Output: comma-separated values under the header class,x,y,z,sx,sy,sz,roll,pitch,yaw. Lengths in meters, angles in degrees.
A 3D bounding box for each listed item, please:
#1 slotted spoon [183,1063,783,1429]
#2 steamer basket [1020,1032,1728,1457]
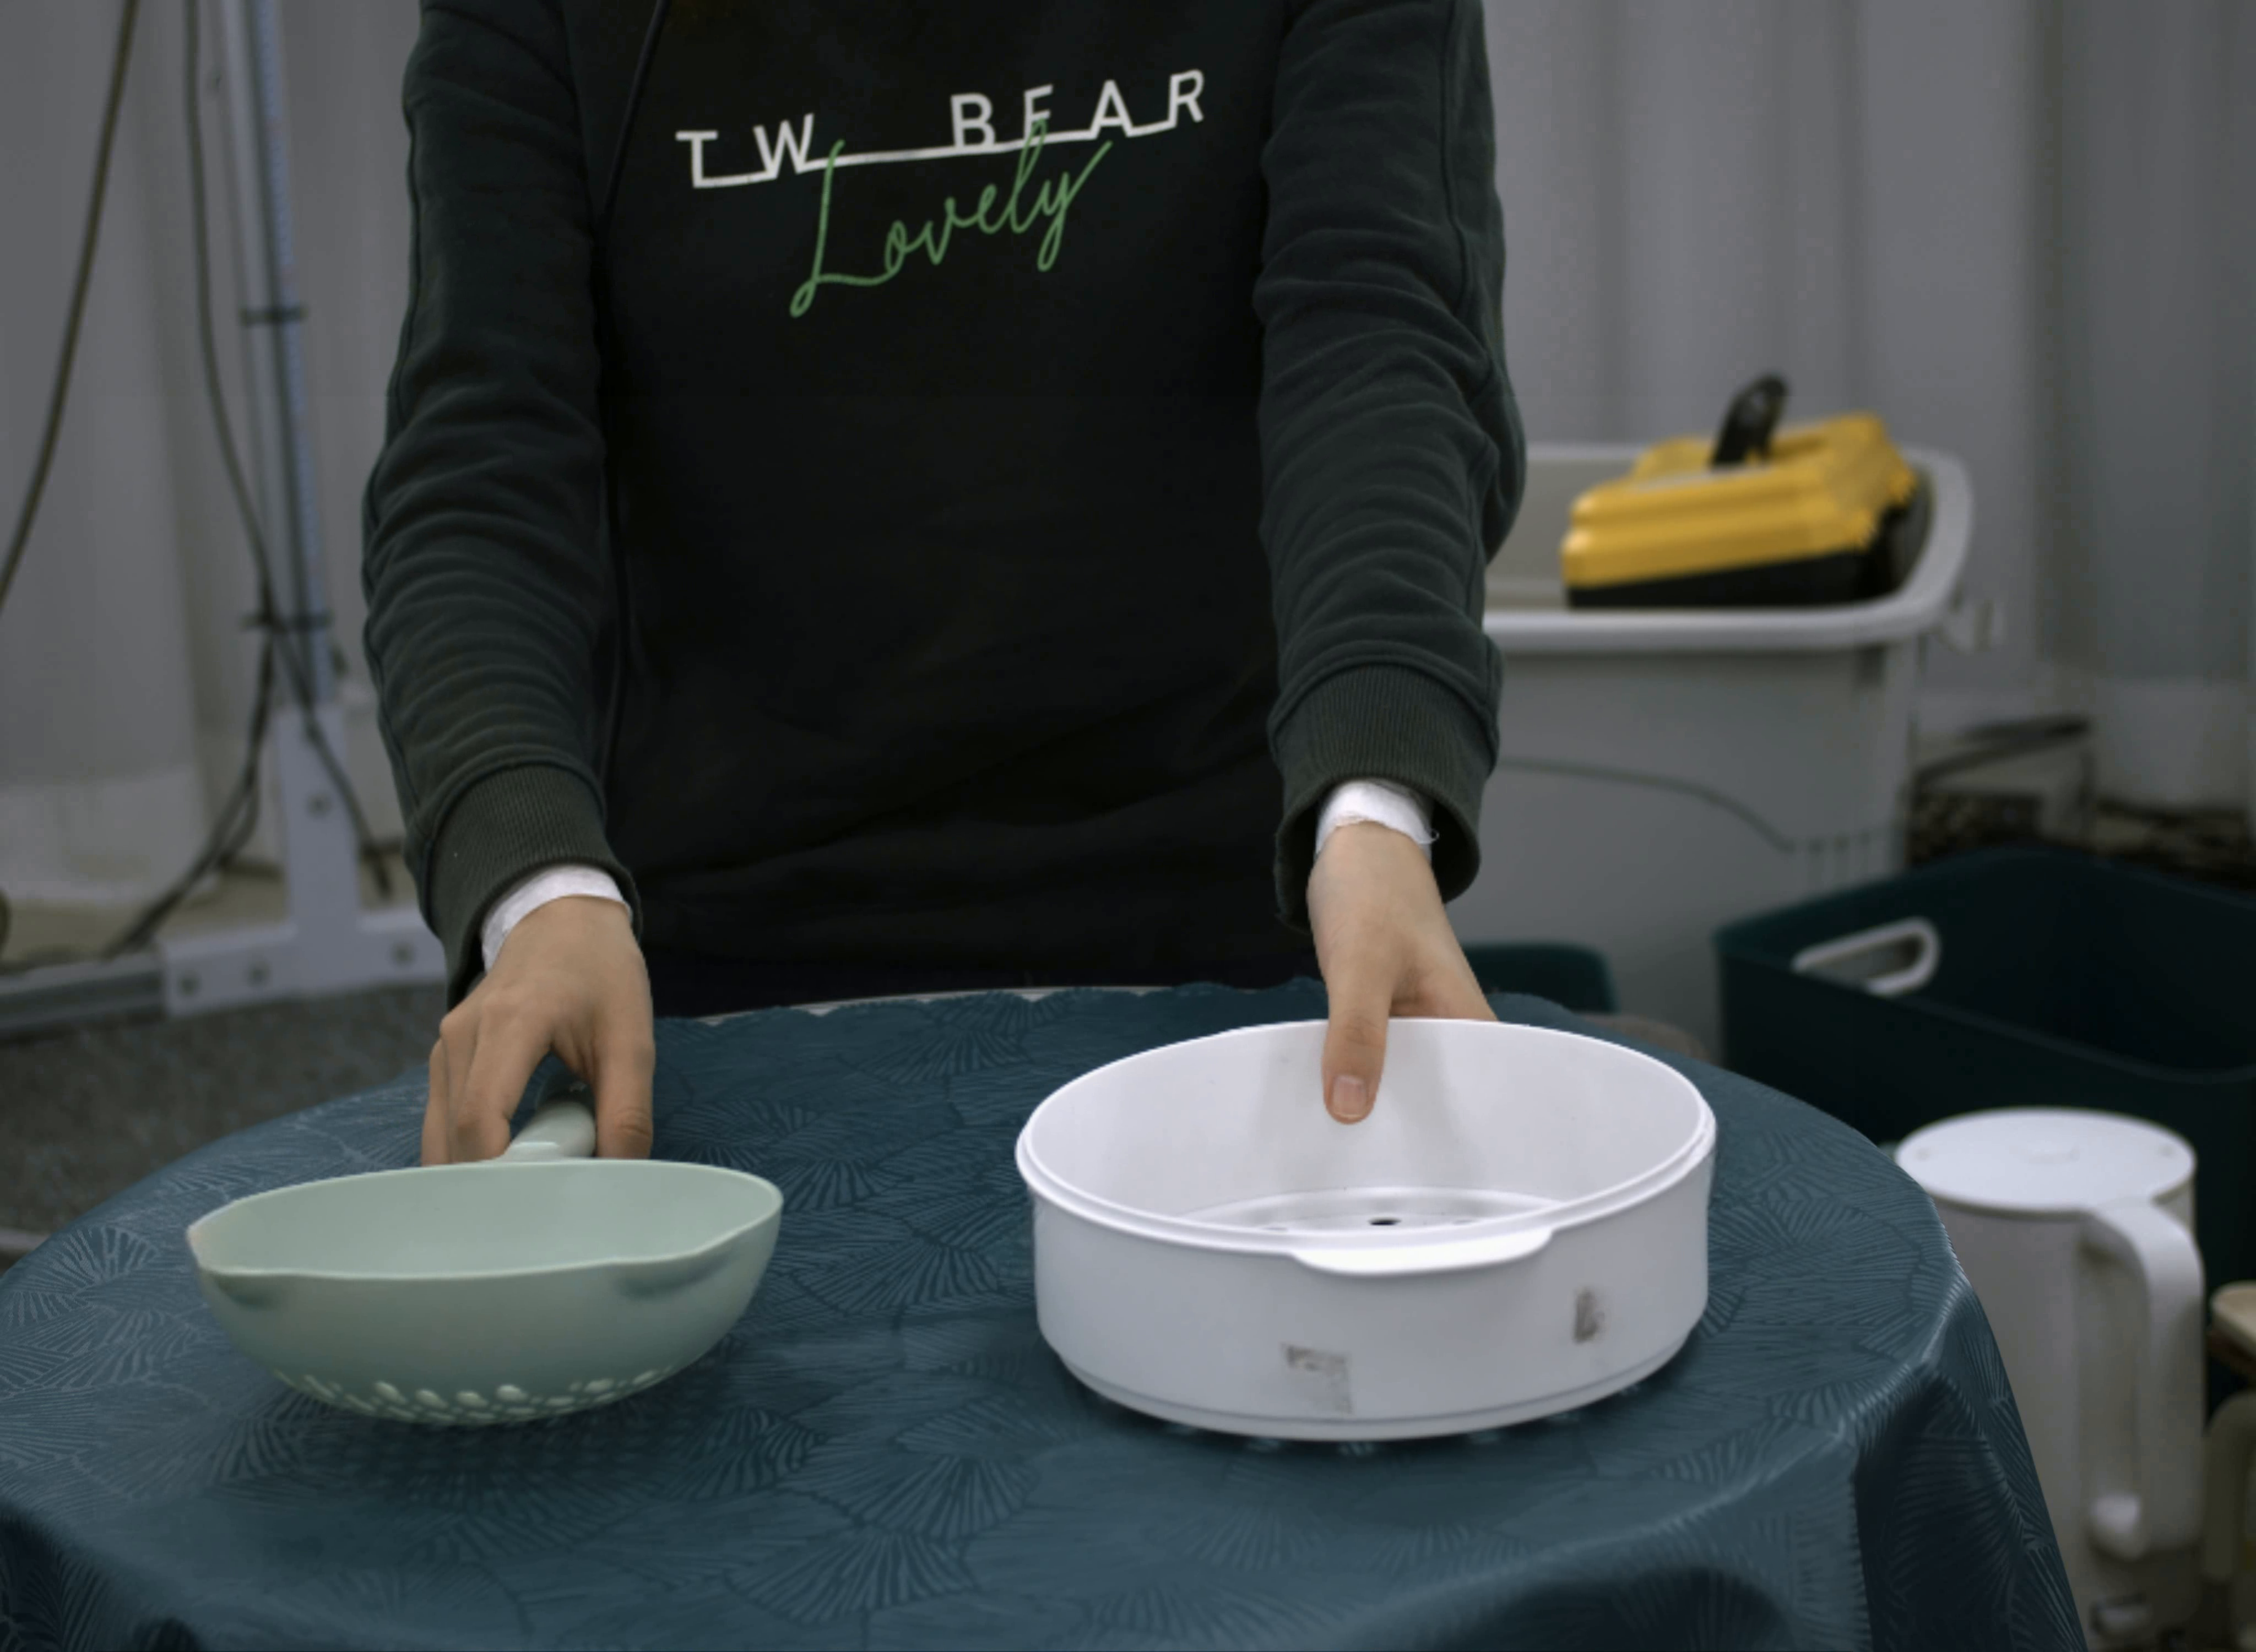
class,x,y,z,sx,sy,sz,roll,pitch,yaw
slotted spoon,-0.178,0.110,1.641,0.169,0.075,0.361,-2,15,2
steamer basket,0.071,0.119,1.562,0.201,0.069,0.232,-4,15,-7
